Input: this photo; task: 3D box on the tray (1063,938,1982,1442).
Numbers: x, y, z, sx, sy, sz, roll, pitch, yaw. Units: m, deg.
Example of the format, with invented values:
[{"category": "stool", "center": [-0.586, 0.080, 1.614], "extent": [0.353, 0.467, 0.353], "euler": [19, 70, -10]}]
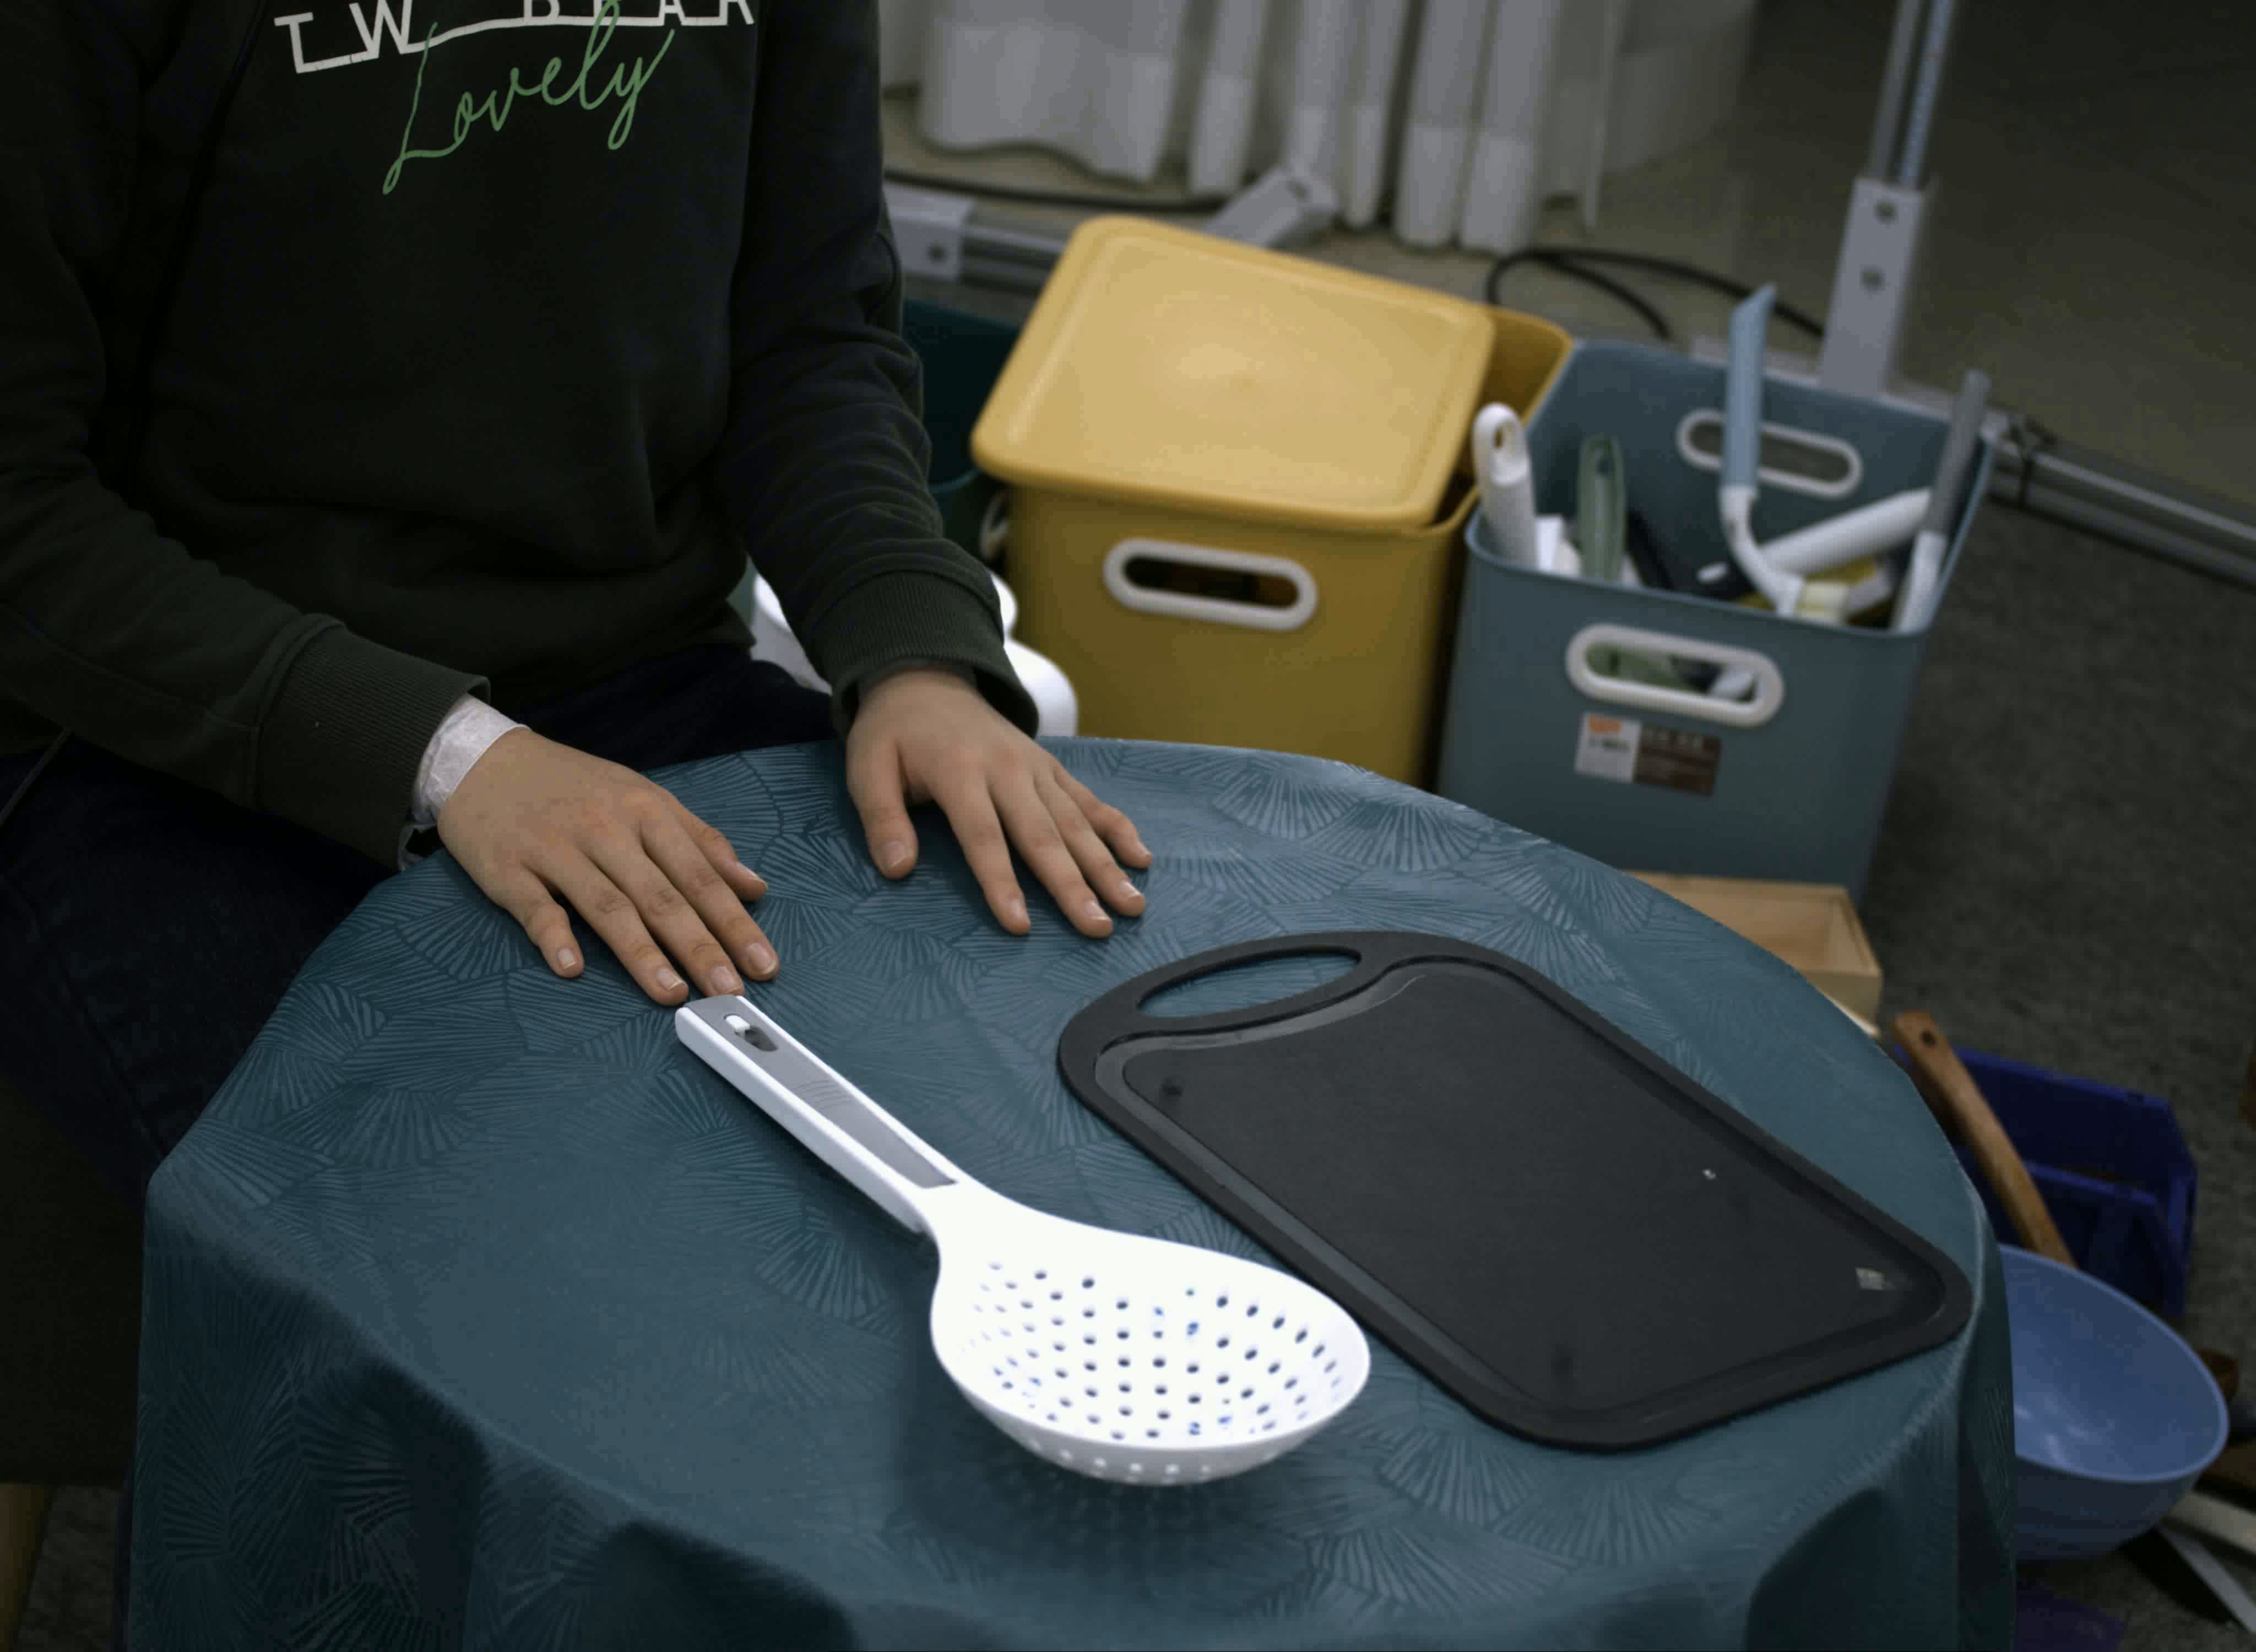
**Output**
[{"category": "tray", "center": [0.126, 0.116, 1.837], "extent": [0.210, 0.010, 0.328], "euler": [-13, 32, -34]}]

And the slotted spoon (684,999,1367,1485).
[{"category": "slotted spoon", "center": [-0.052, 0.129, 1.728], "extent": [0.135, 0.045, 0.353], "euler": [-9, 29, -32]}]
